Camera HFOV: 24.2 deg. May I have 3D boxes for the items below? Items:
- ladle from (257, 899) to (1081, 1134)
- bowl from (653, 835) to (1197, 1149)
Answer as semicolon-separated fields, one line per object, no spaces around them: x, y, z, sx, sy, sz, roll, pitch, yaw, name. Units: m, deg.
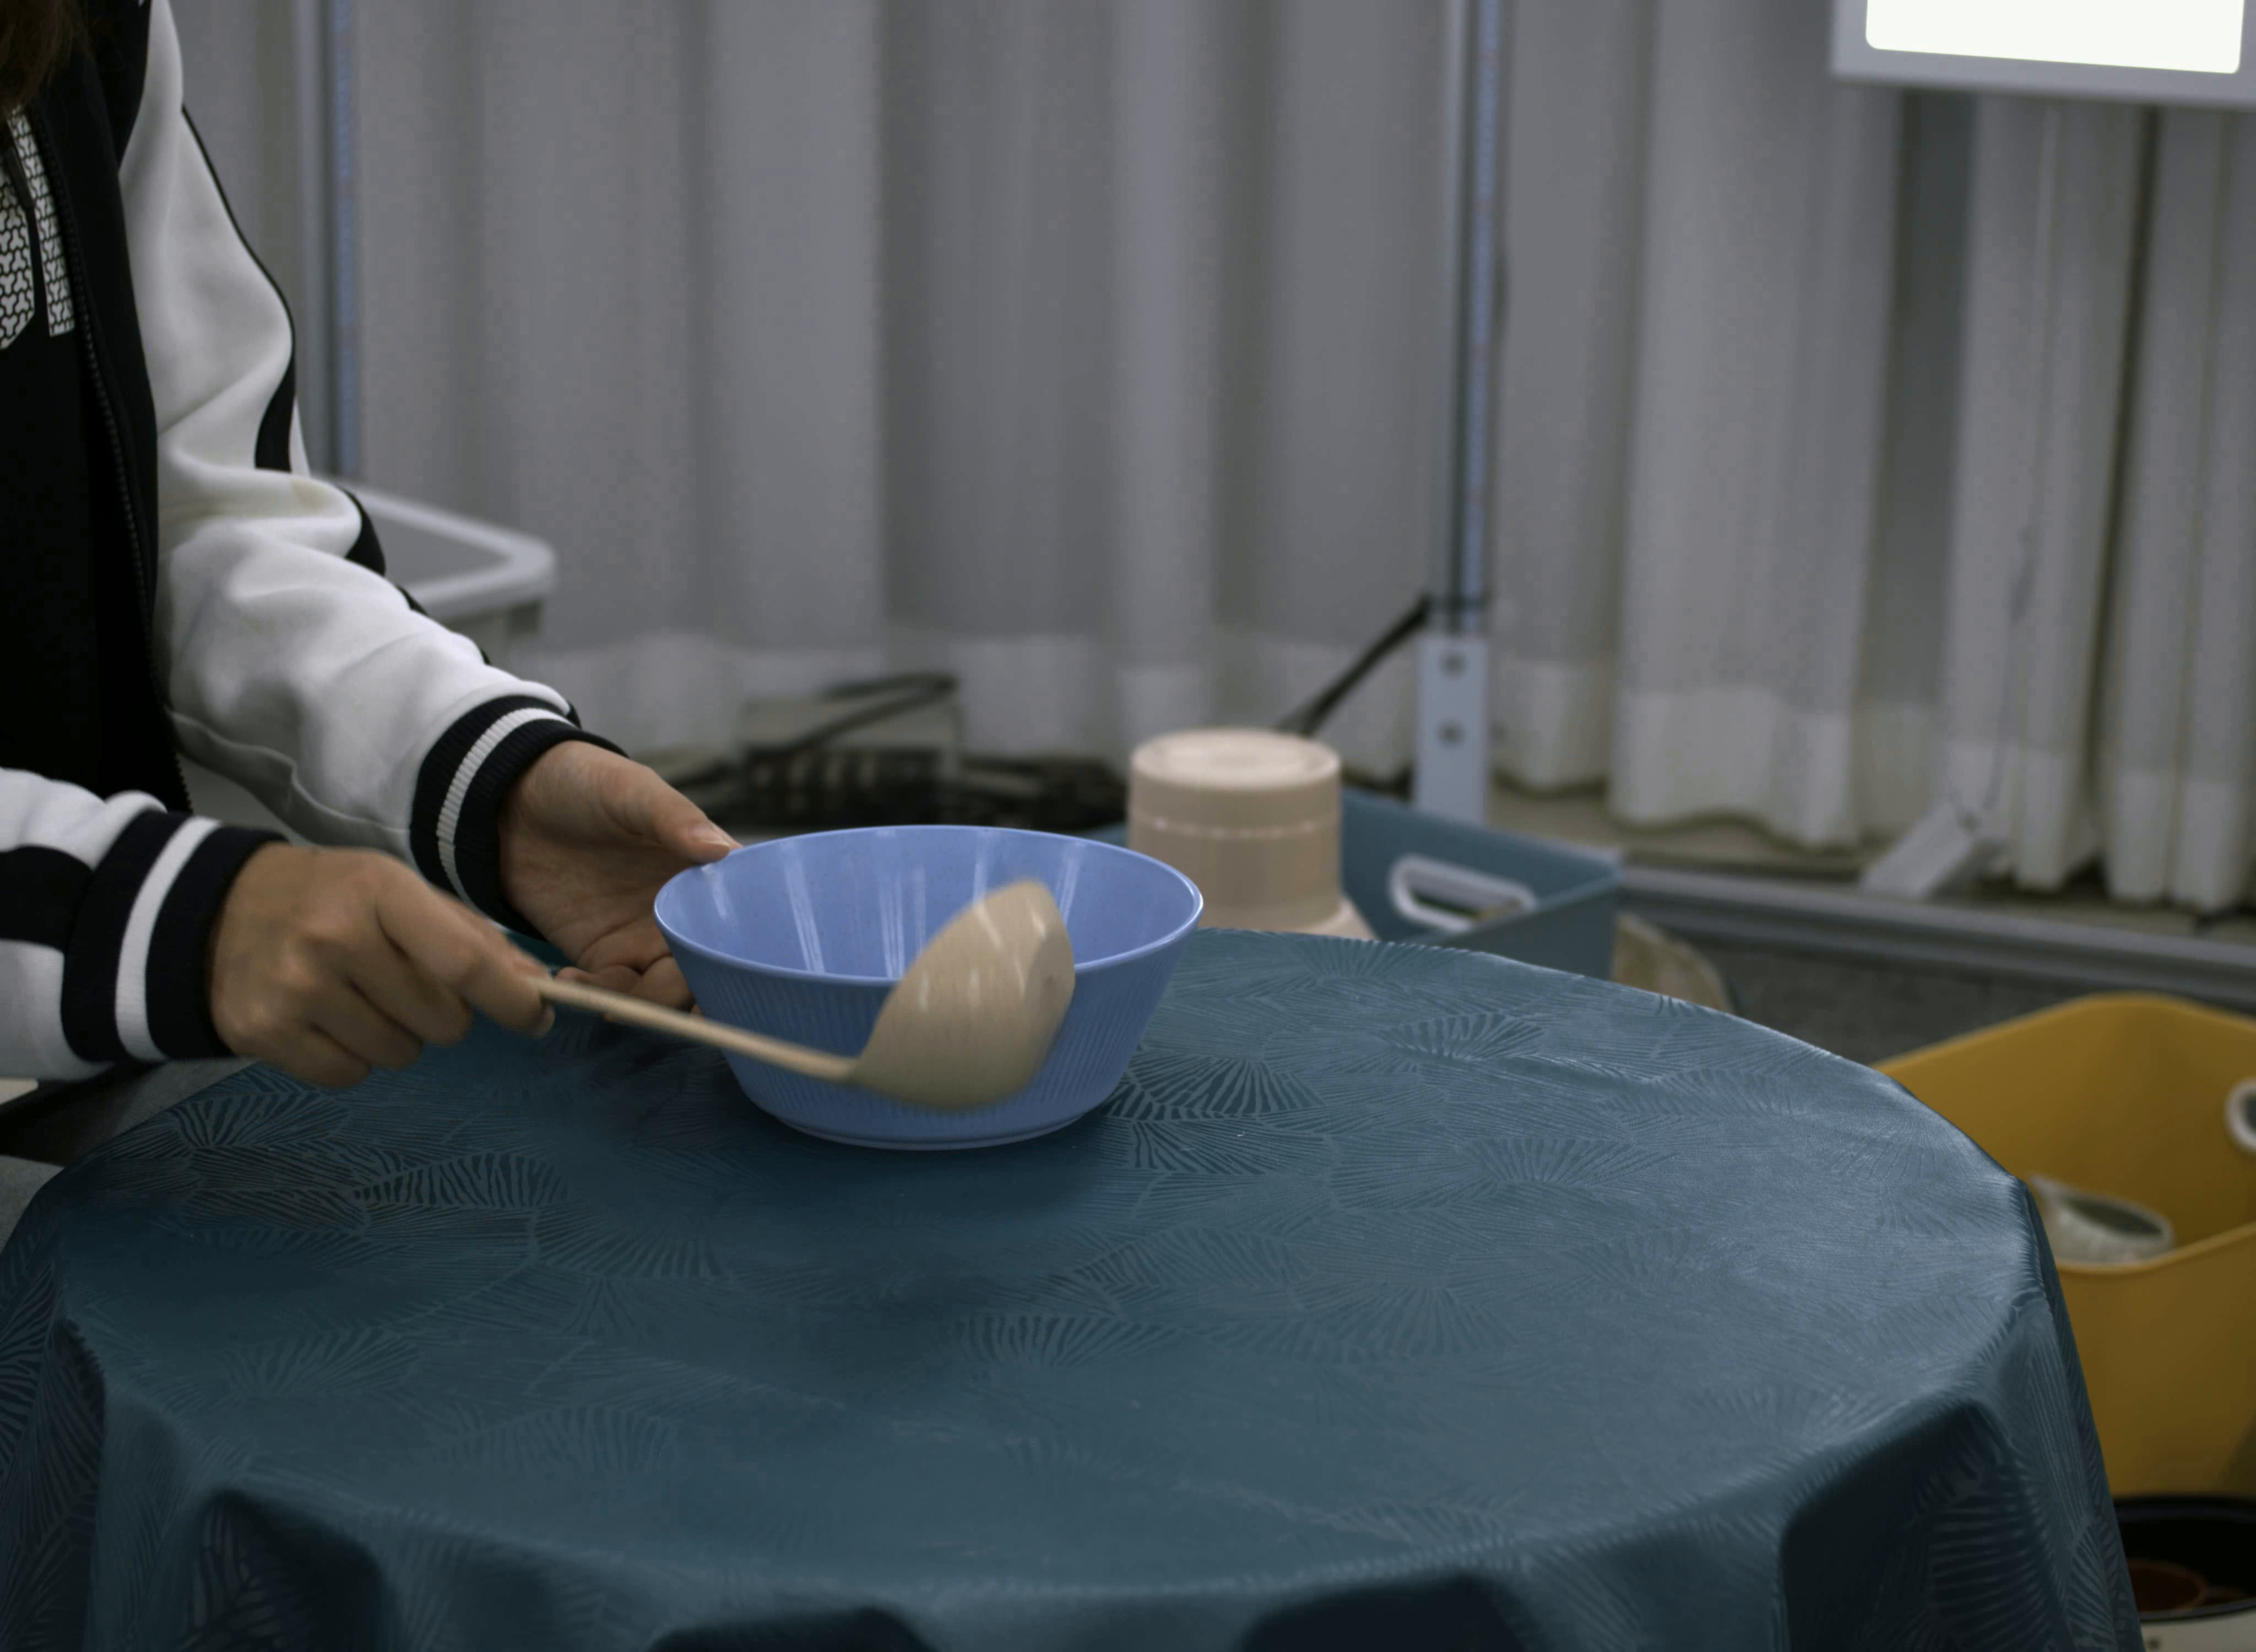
-0.136;0.035;1.550;0.252;0.073;0.073;12;-10;19;ladle
-0.065;0.055;1.694;0.175;0.071;0.175;1;15;0;bowl
